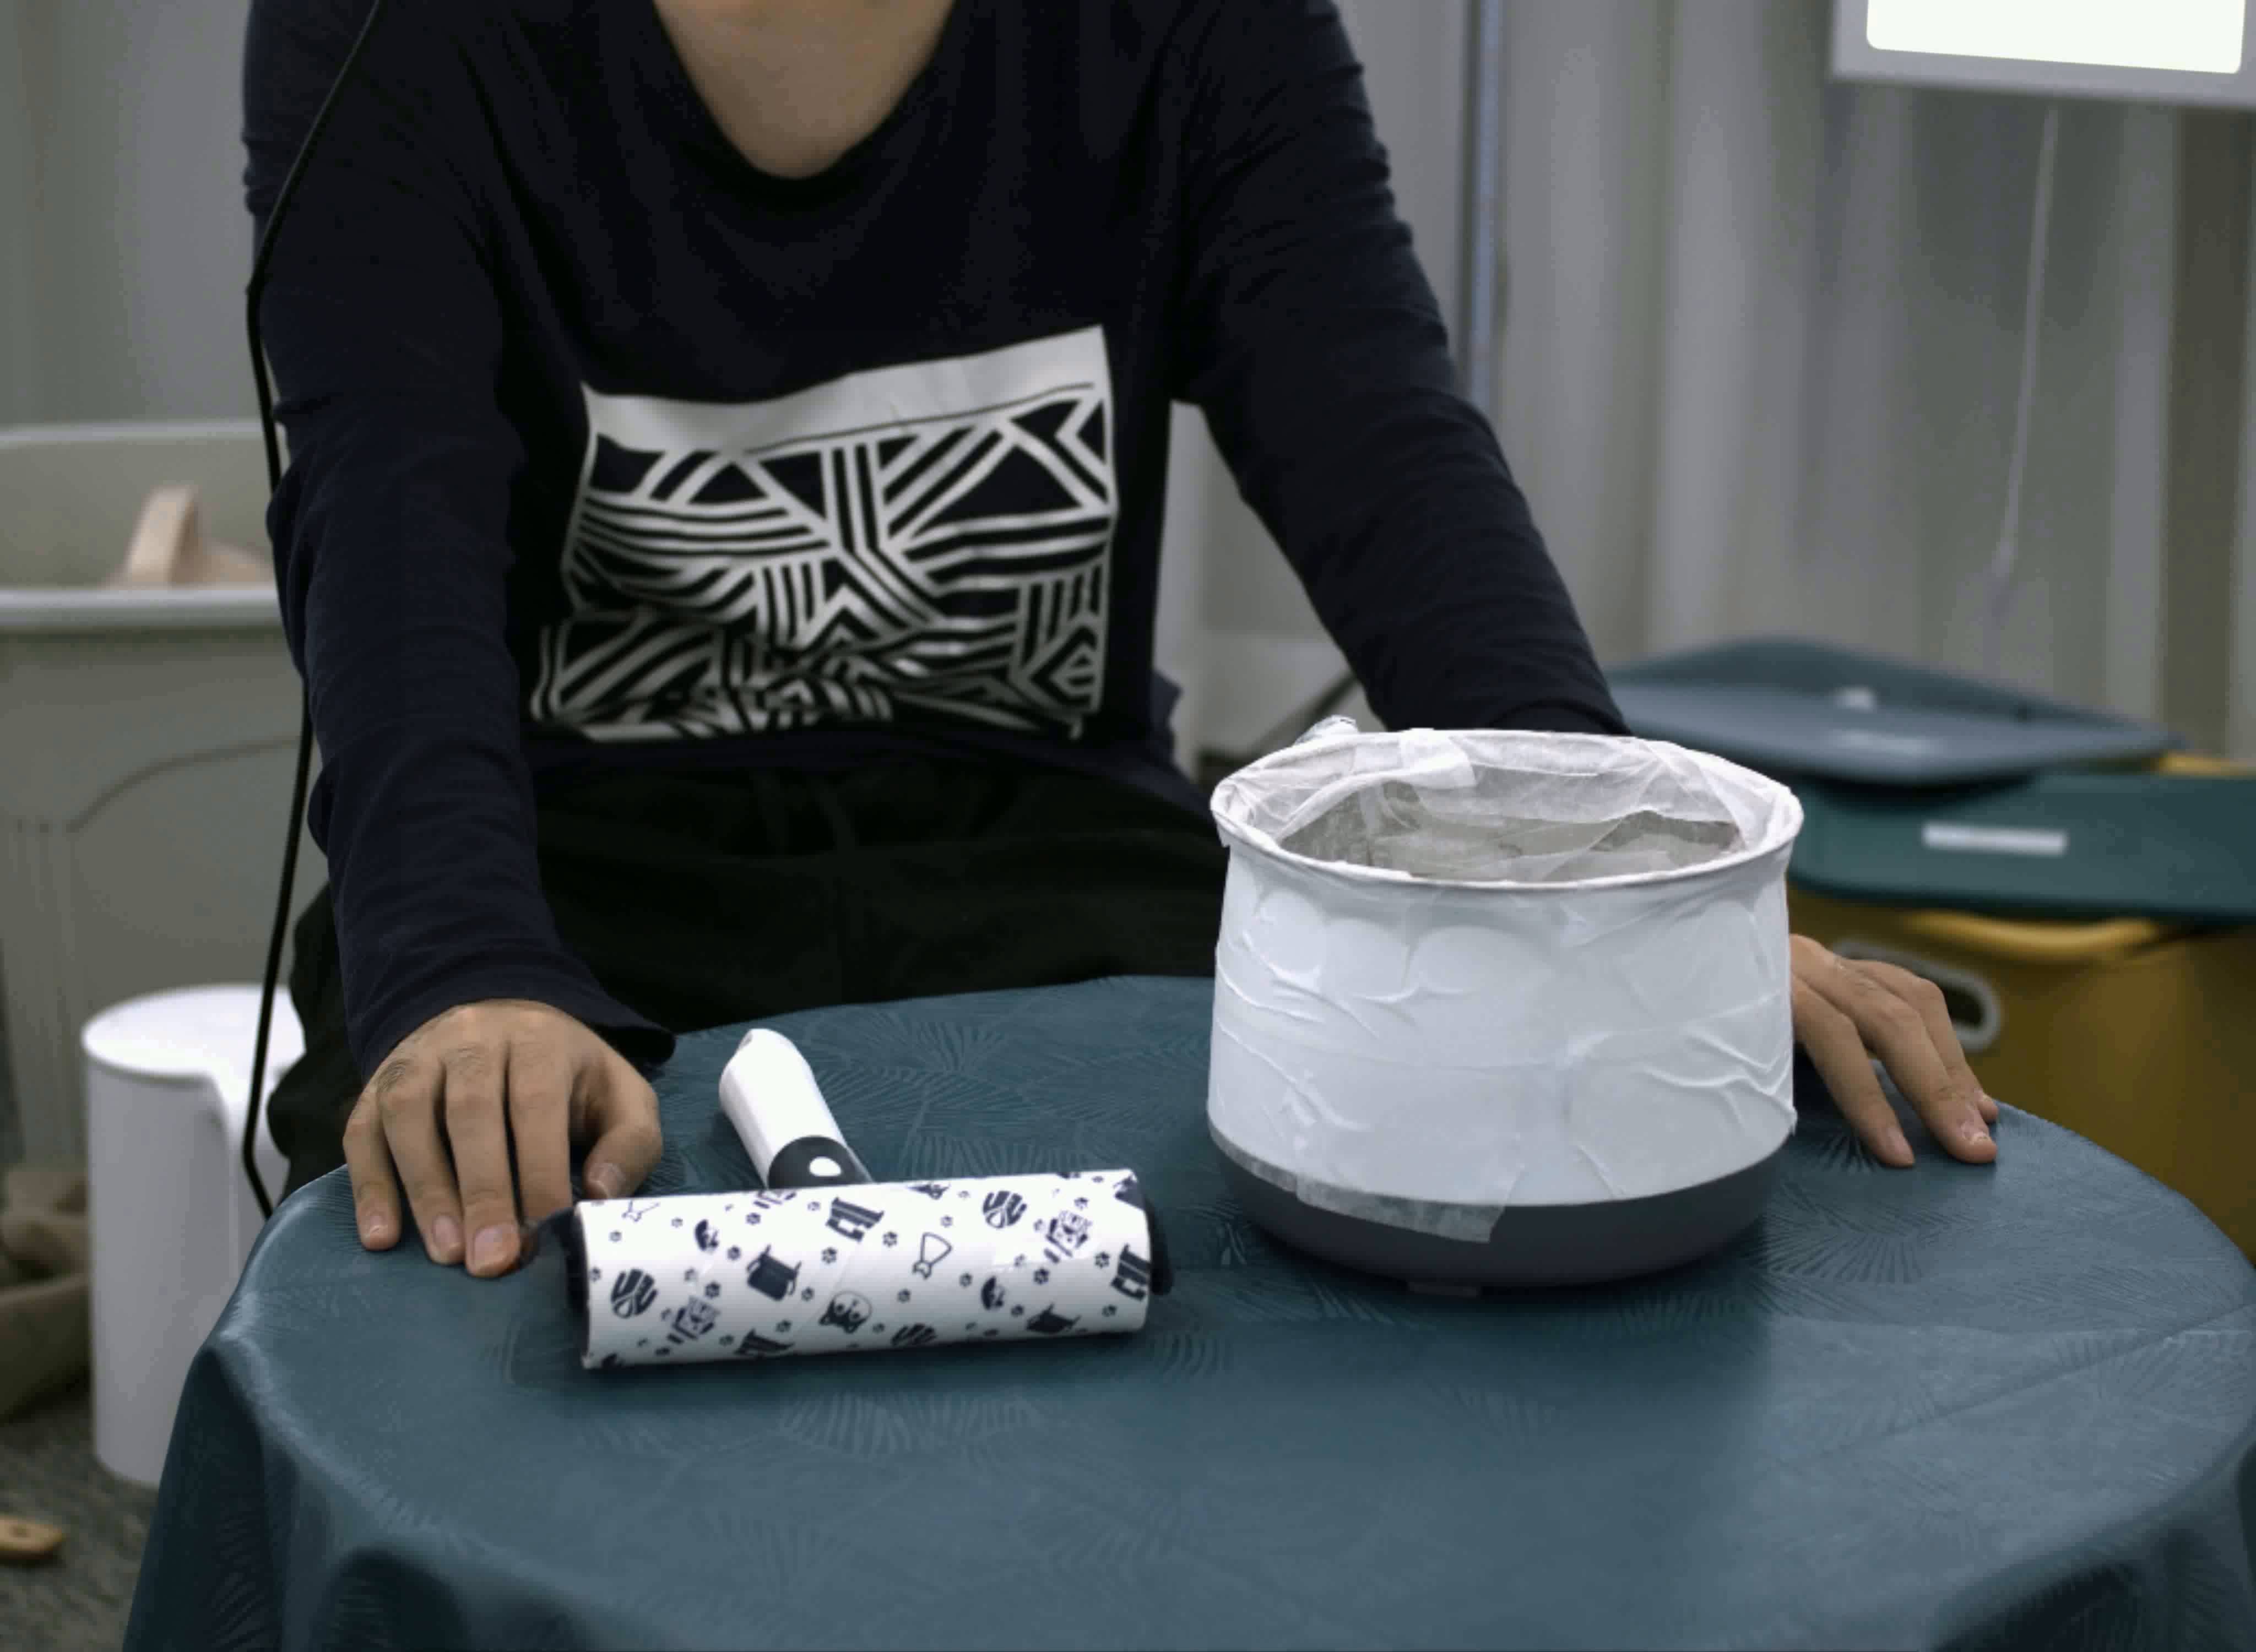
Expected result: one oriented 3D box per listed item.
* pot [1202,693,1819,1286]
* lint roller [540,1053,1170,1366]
[{"bbox_3d":[0.099,0.044,1.604,0.179,0.137,0.230,-5,19,-30],"label":"pot"},{"bbox_3d":[-0.098,0.101,1.582,0.176,0.051,0.245,-4,14,-12],"label":"lint roller"}]
